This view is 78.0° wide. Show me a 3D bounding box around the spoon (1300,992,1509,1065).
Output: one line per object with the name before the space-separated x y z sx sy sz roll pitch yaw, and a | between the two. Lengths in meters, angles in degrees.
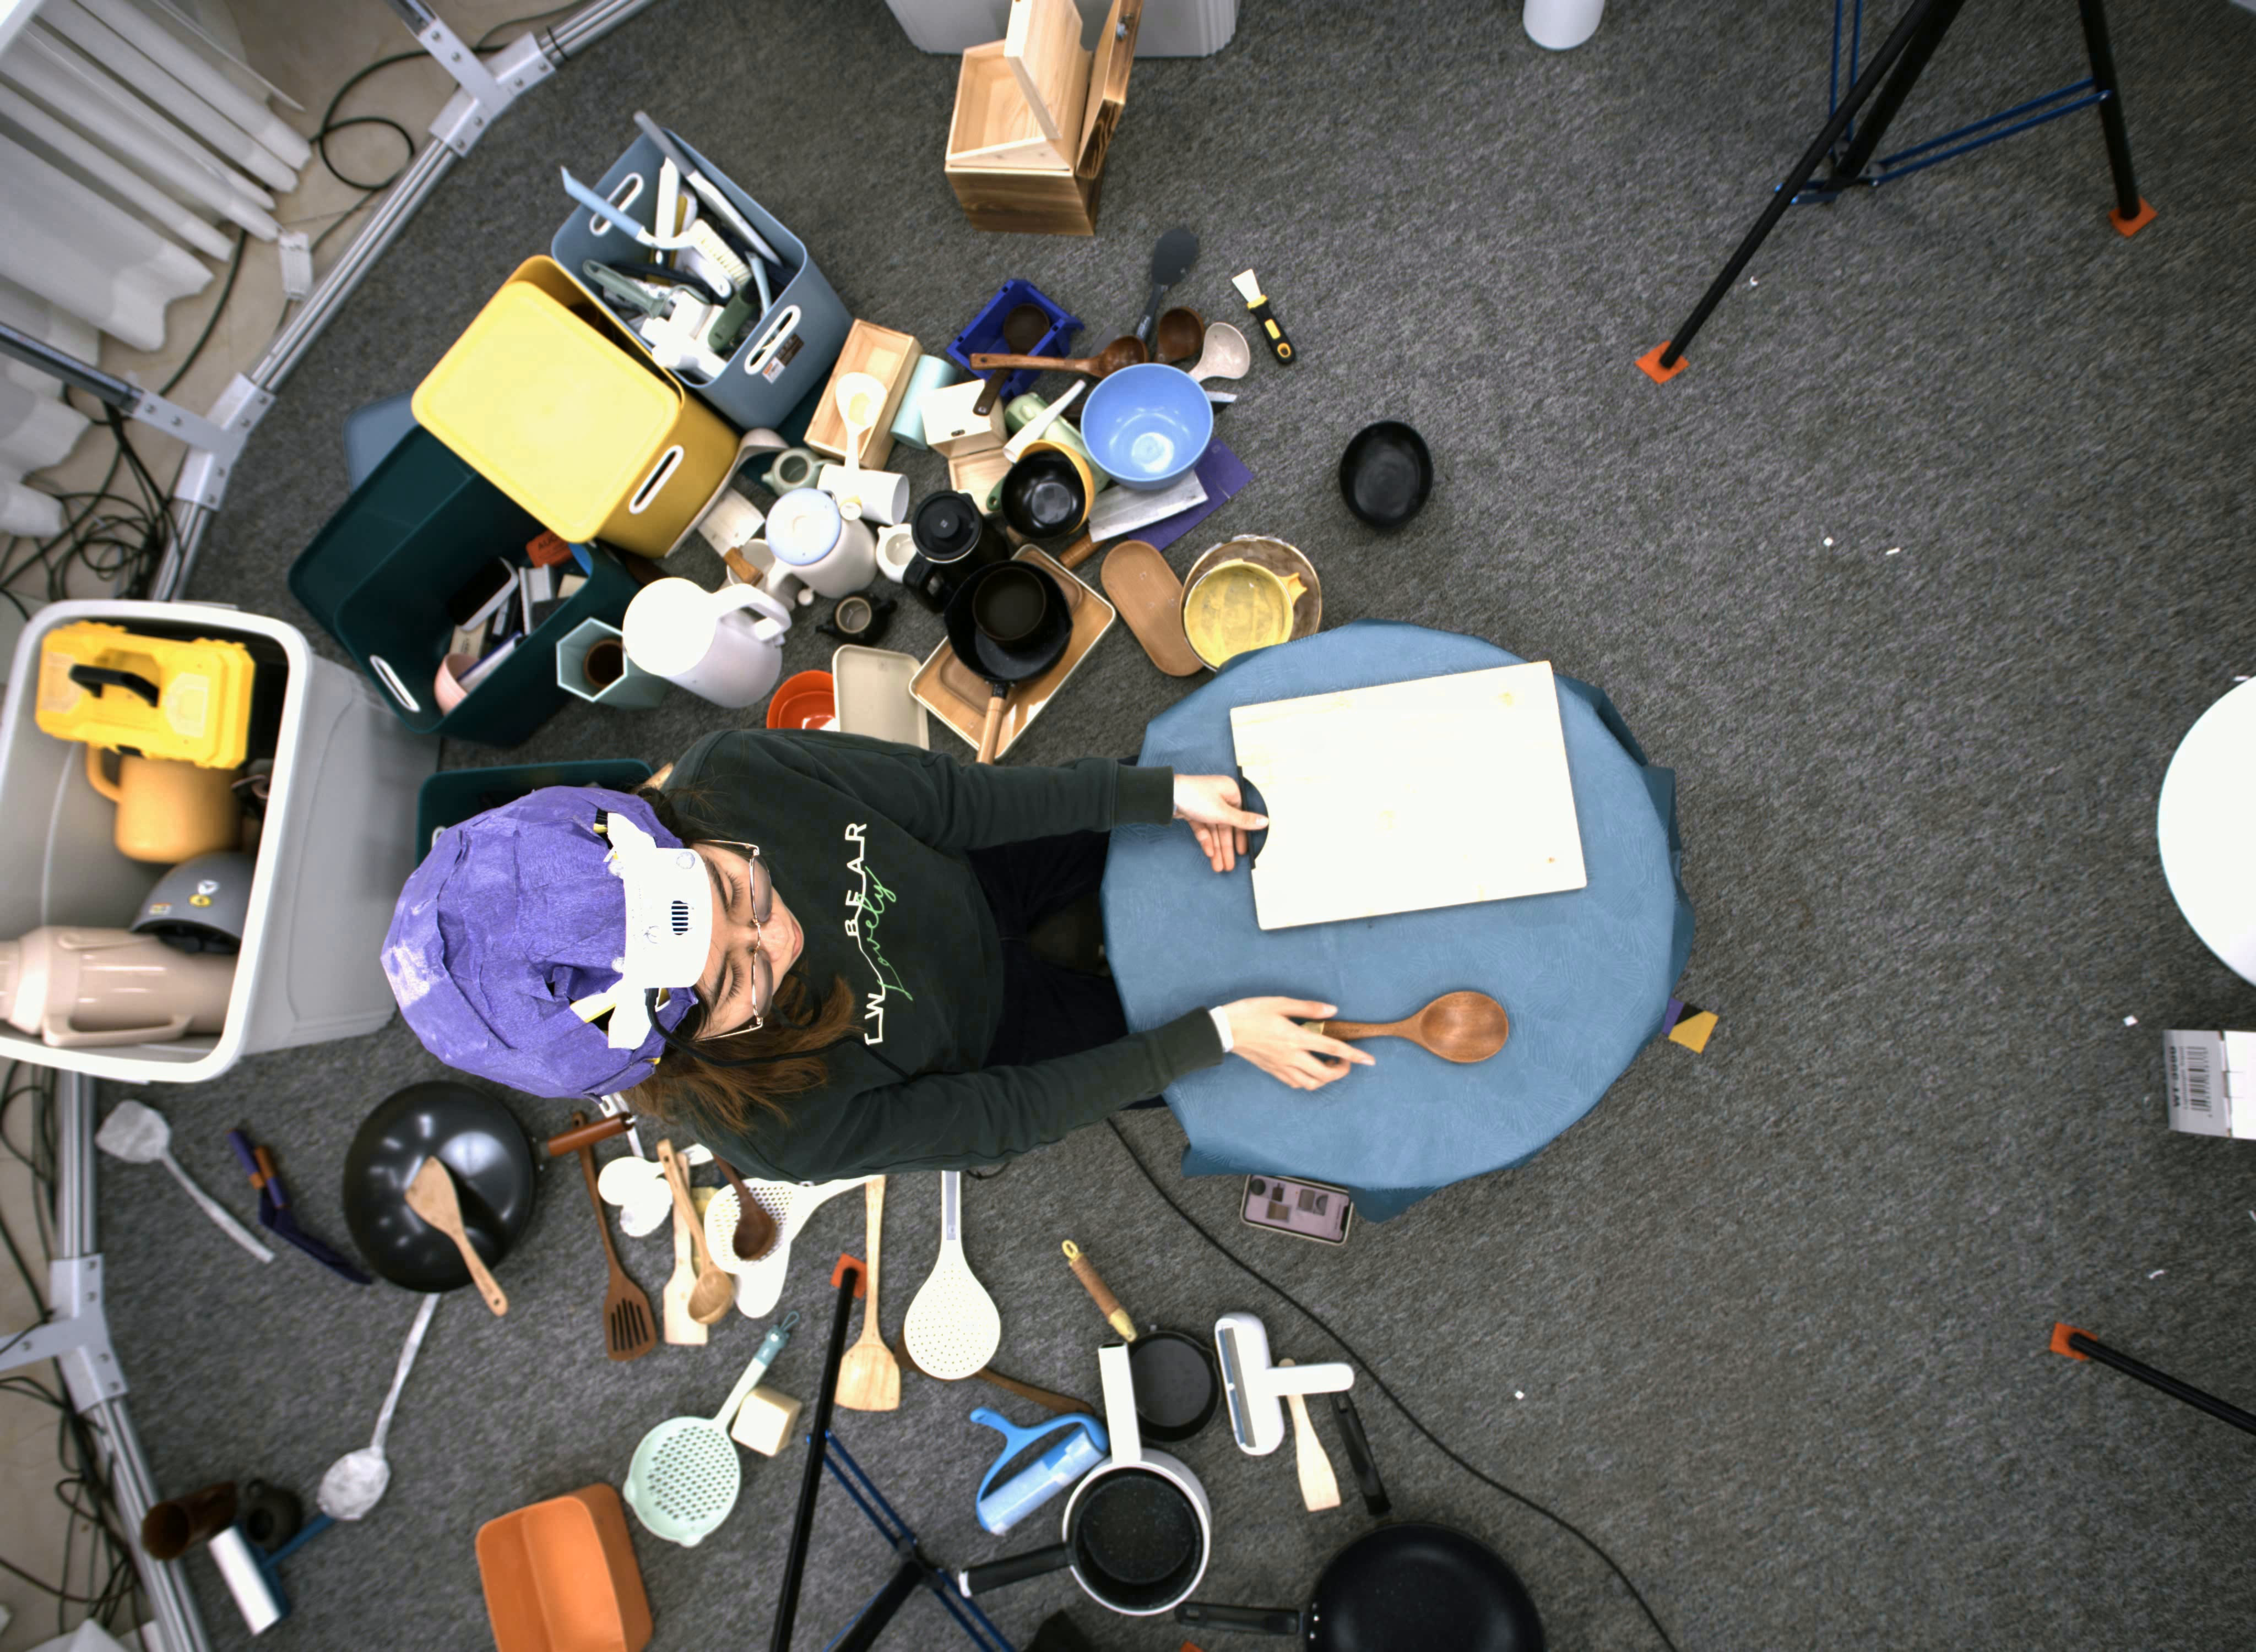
spoon | 0.288 0.212 1.443 0.217 0.017 0.075 -4 87 9

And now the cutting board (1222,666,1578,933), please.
cutting board | 0.287 -0.029 1.457 0.350 0.023 0.249 -9 84 8
